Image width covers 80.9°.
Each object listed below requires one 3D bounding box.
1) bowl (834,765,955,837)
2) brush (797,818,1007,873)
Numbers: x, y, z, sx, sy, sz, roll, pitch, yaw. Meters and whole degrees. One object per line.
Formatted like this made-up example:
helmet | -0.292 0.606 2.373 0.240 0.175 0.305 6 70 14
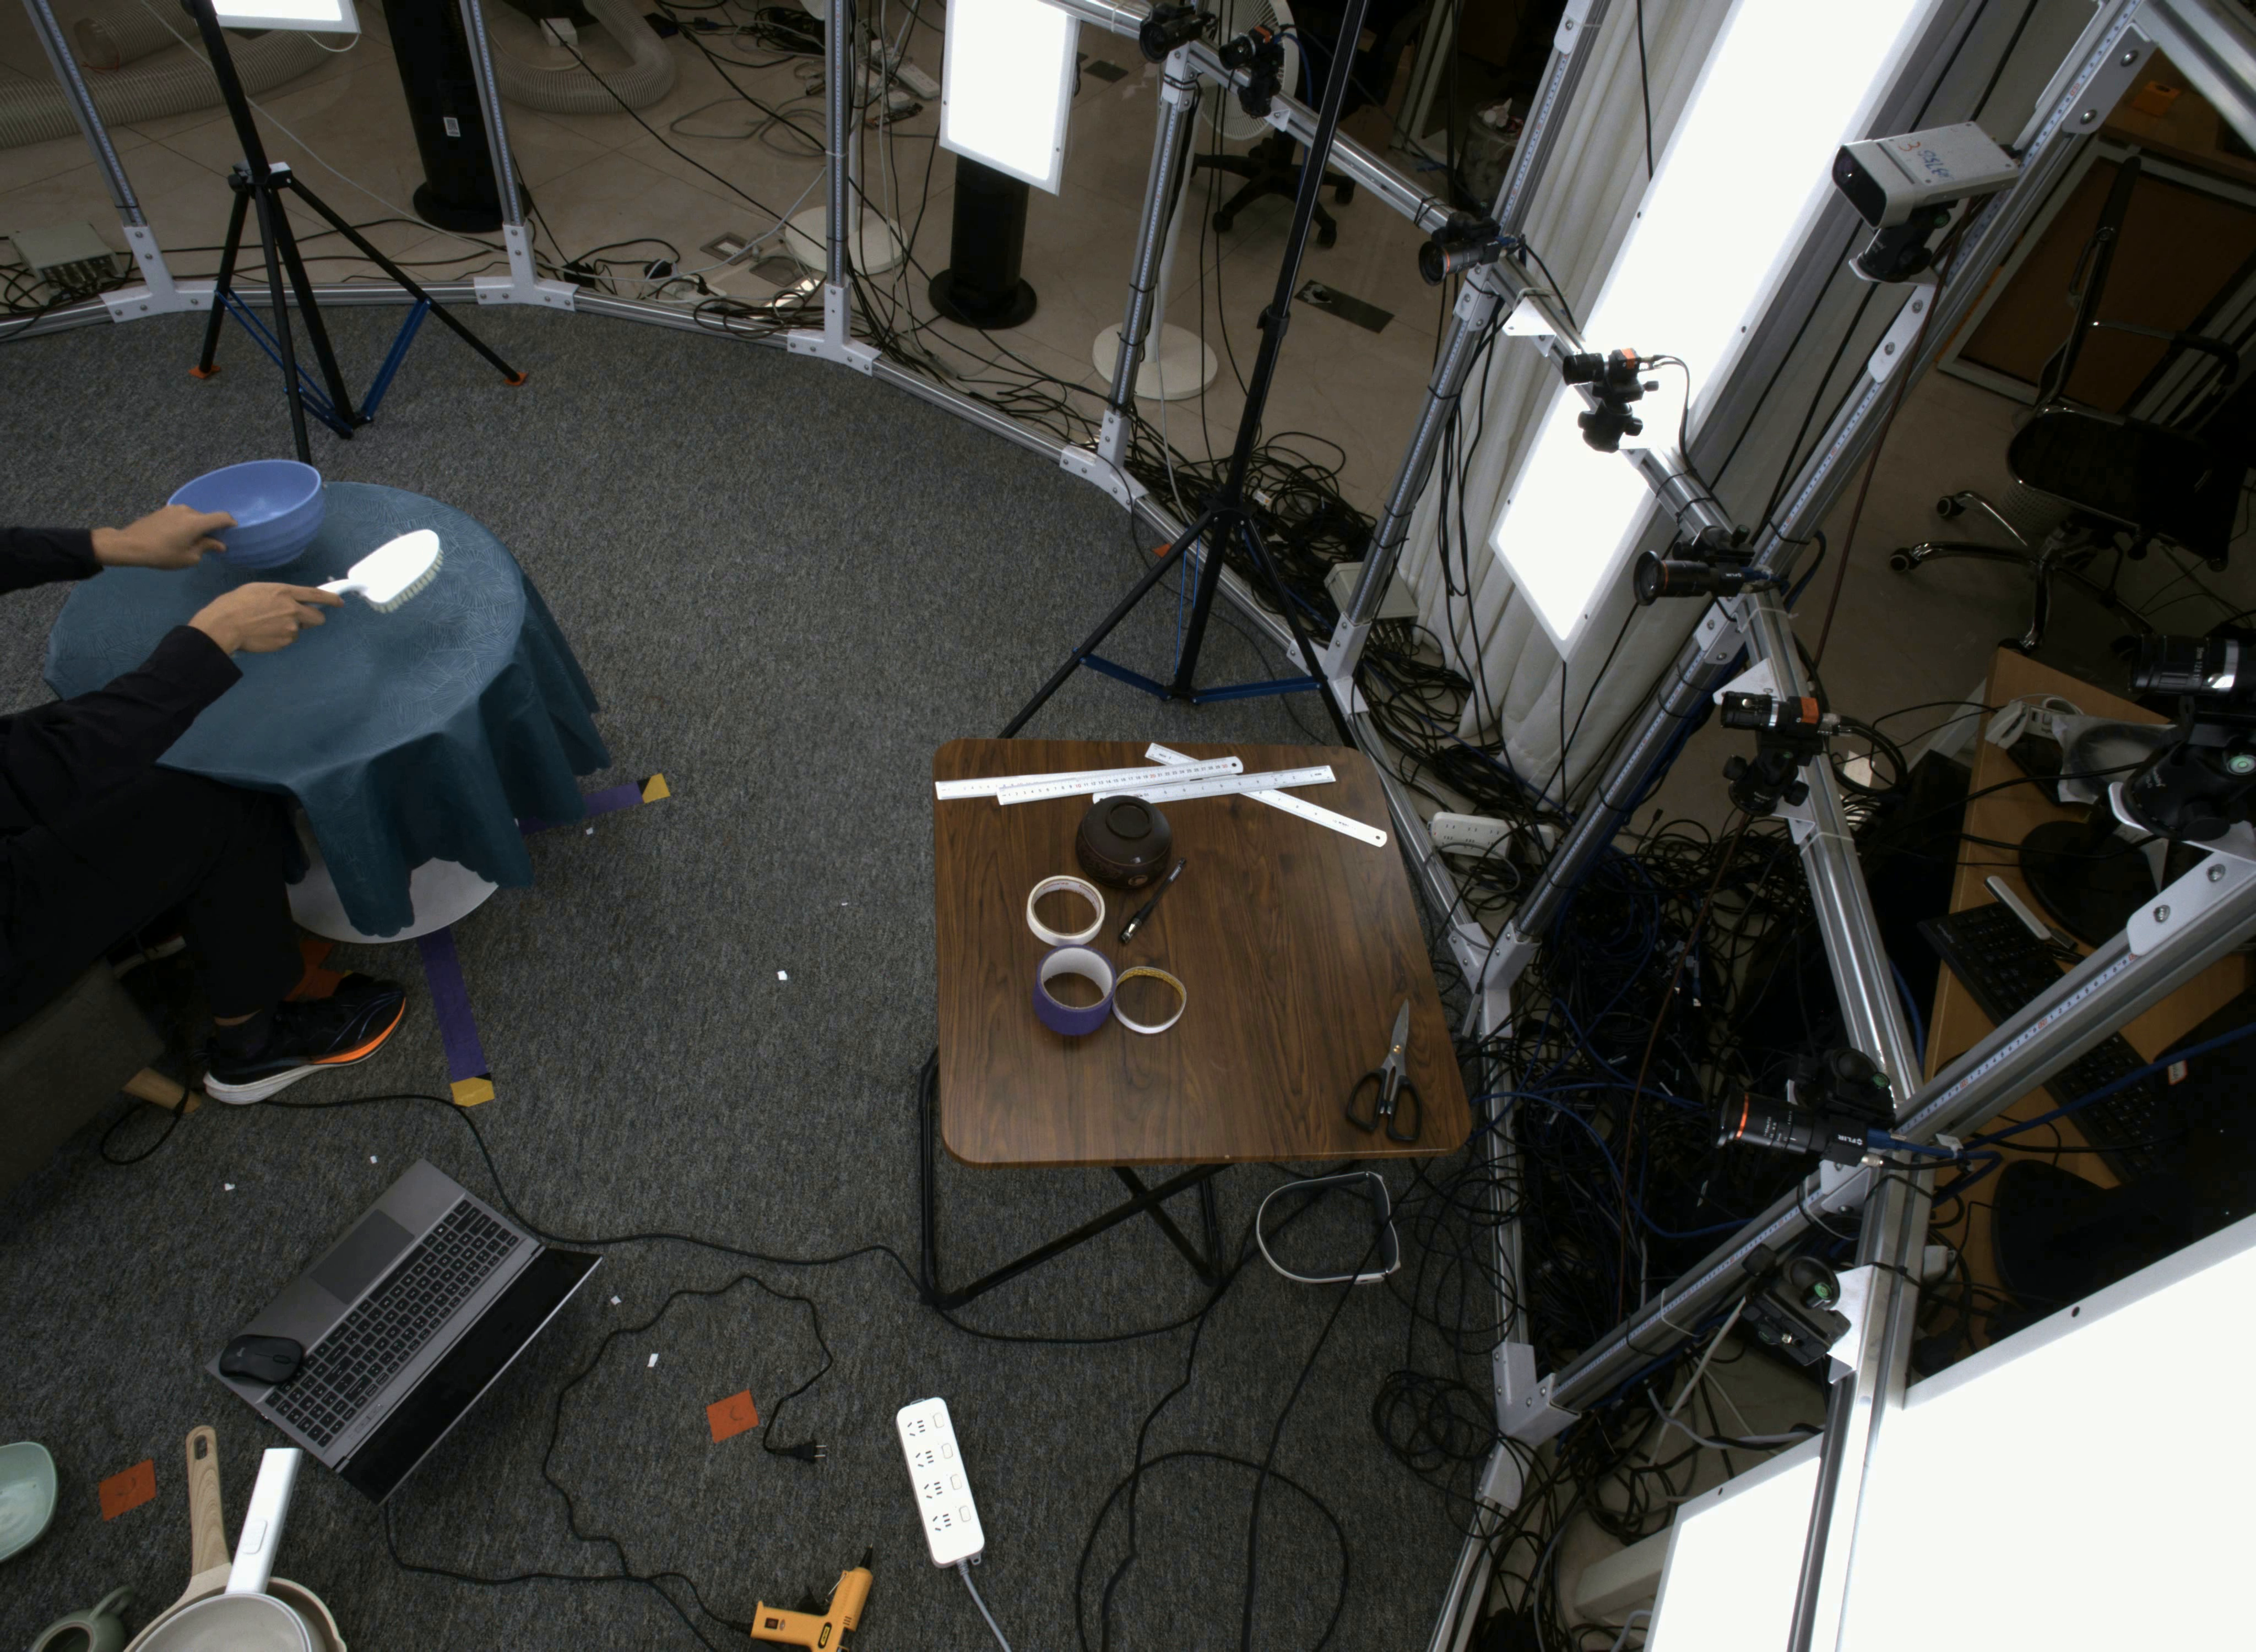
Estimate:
bowl | -0.381 -0.039 2.130 0.194 0.097 0.194 2 12 1
brush | -0.331 0.029 1.922 0.329 0.086 0.080 -4 6 -30
